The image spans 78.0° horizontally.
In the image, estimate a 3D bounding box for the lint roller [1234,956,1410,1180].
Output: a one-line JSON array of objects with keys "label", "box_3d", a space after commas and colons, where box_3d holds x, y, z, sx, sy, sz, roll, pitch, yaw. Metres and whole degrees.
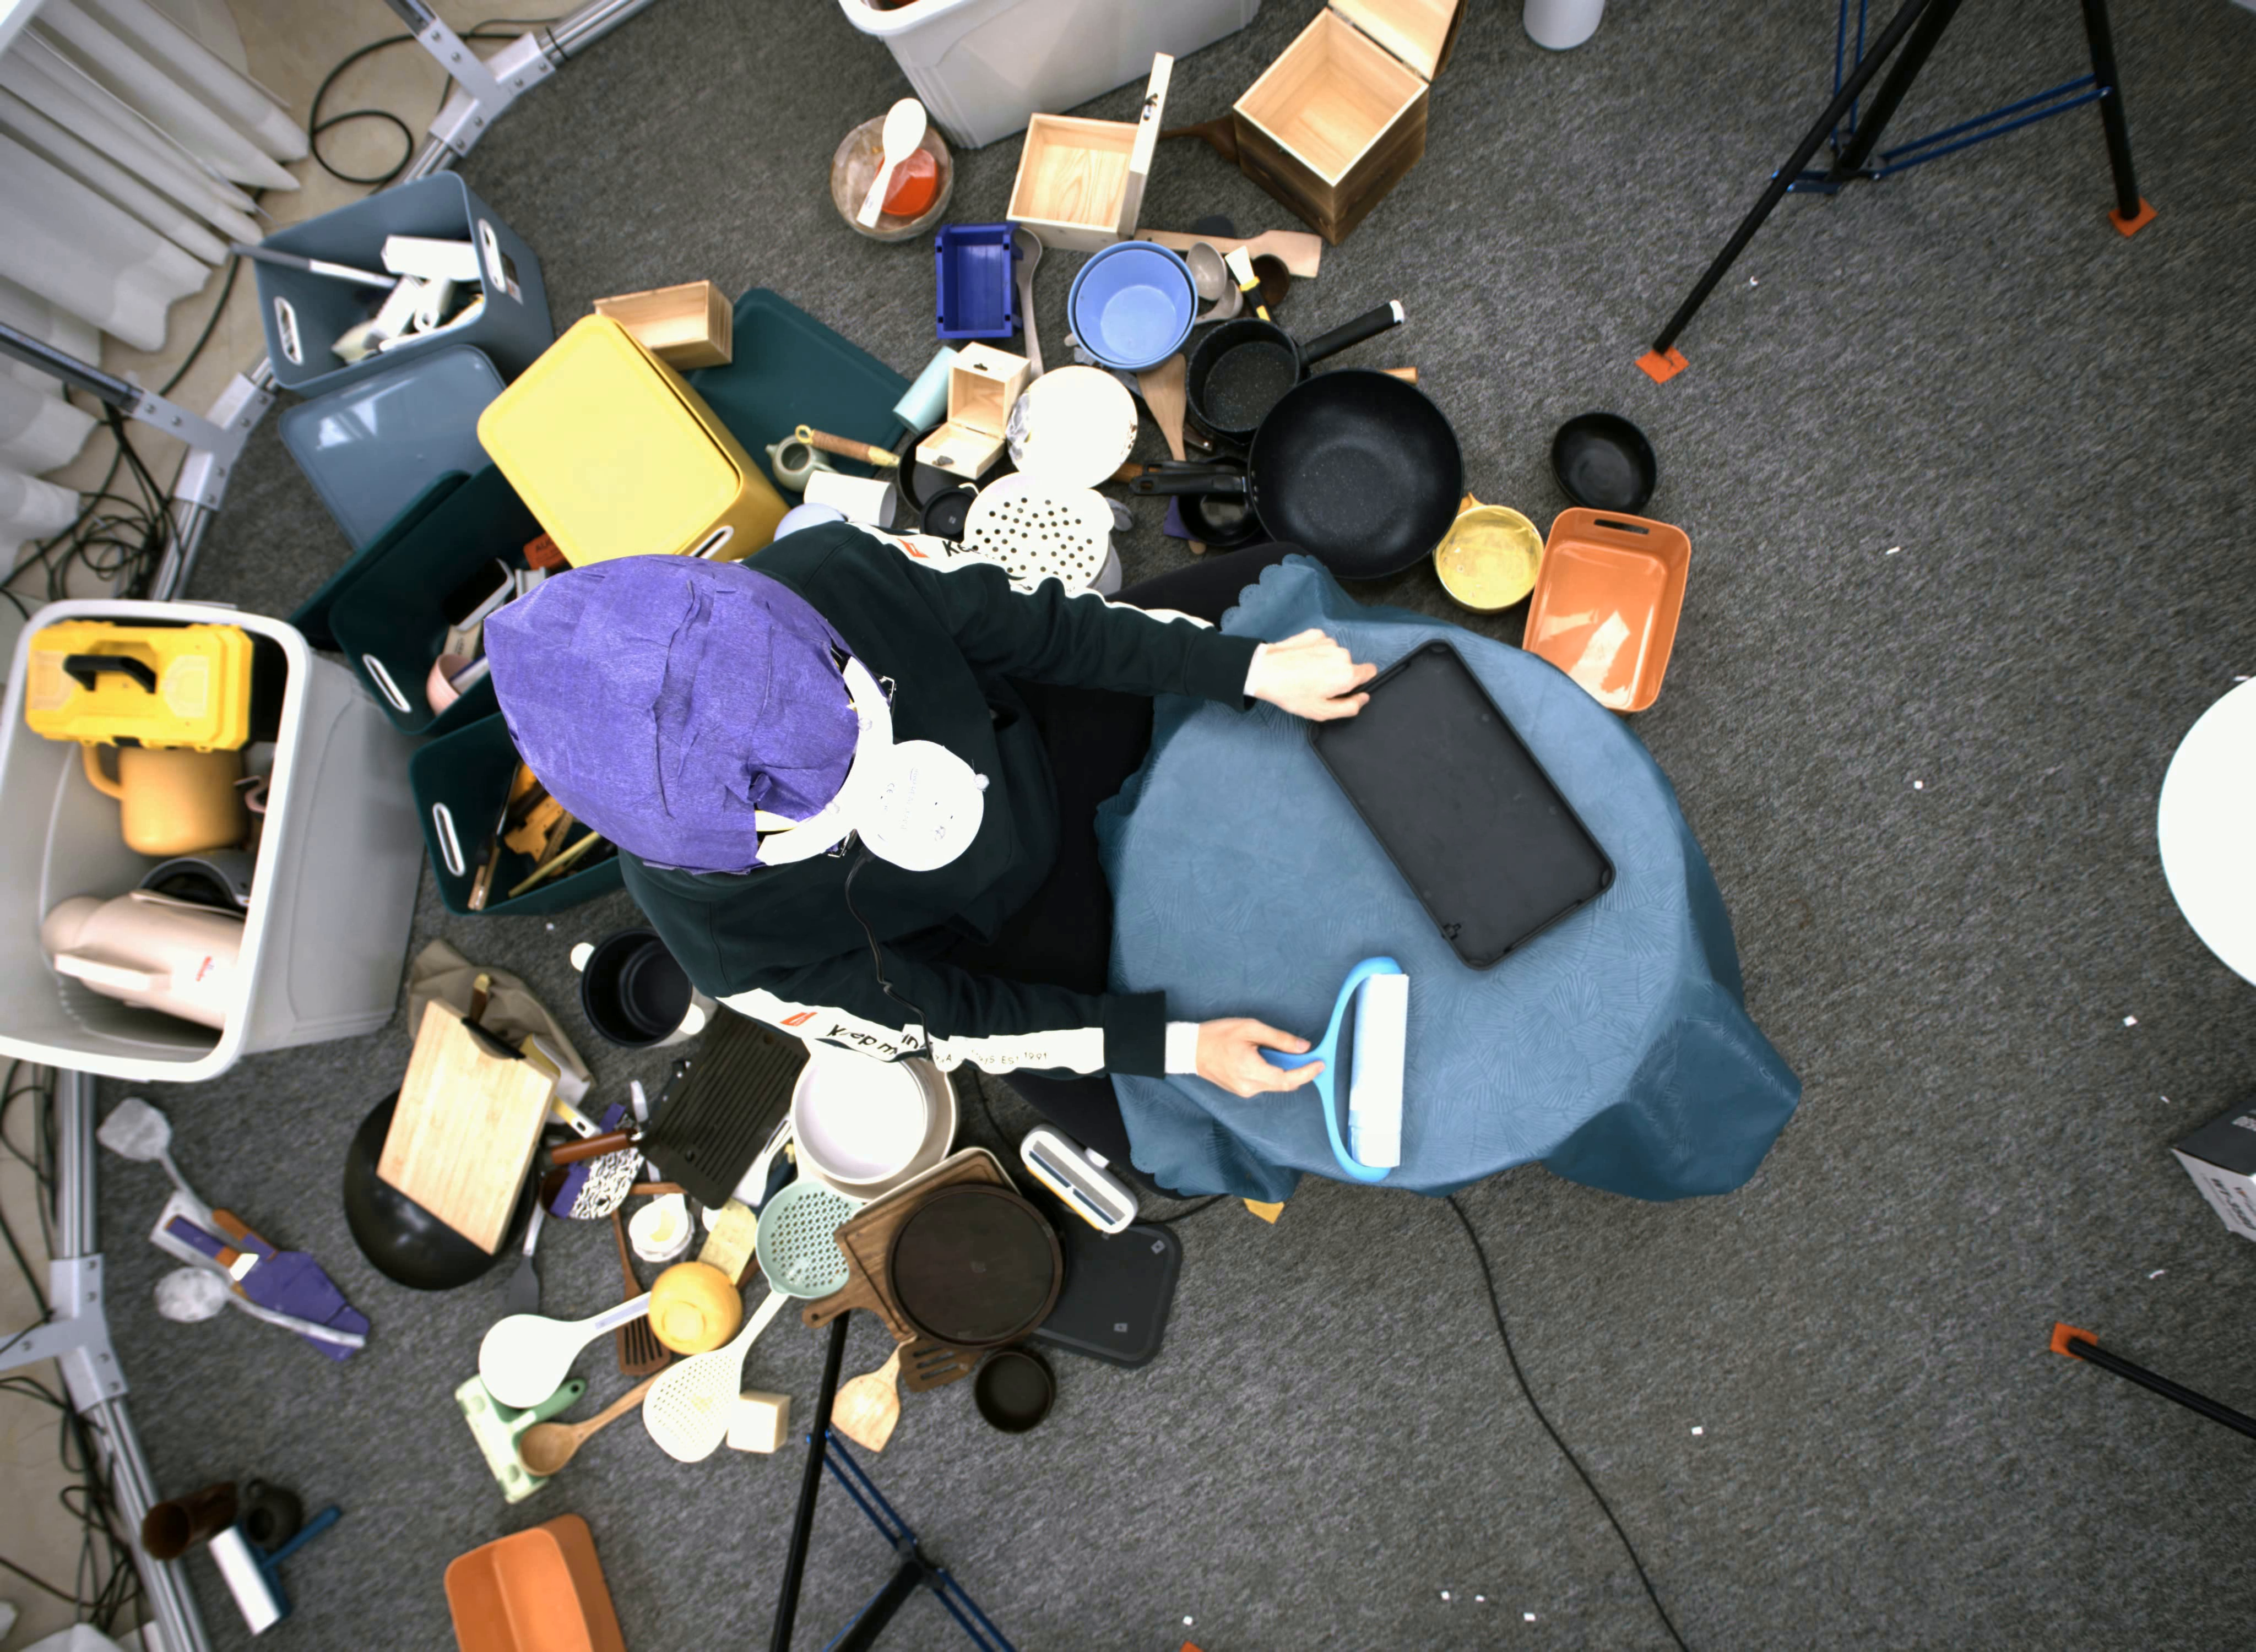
[{"label": "lint roller", "box_3d": [0.198, 0.246, 1.428, 0.181, 0.068, 0.228, 1, 89, 7]}]

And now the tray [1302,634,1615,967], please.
[{"label": "tray", "box_3d": [0.340, -0.029, 1.430, 0.185, 0.037, 0.316, -36, 83, 7]}]
